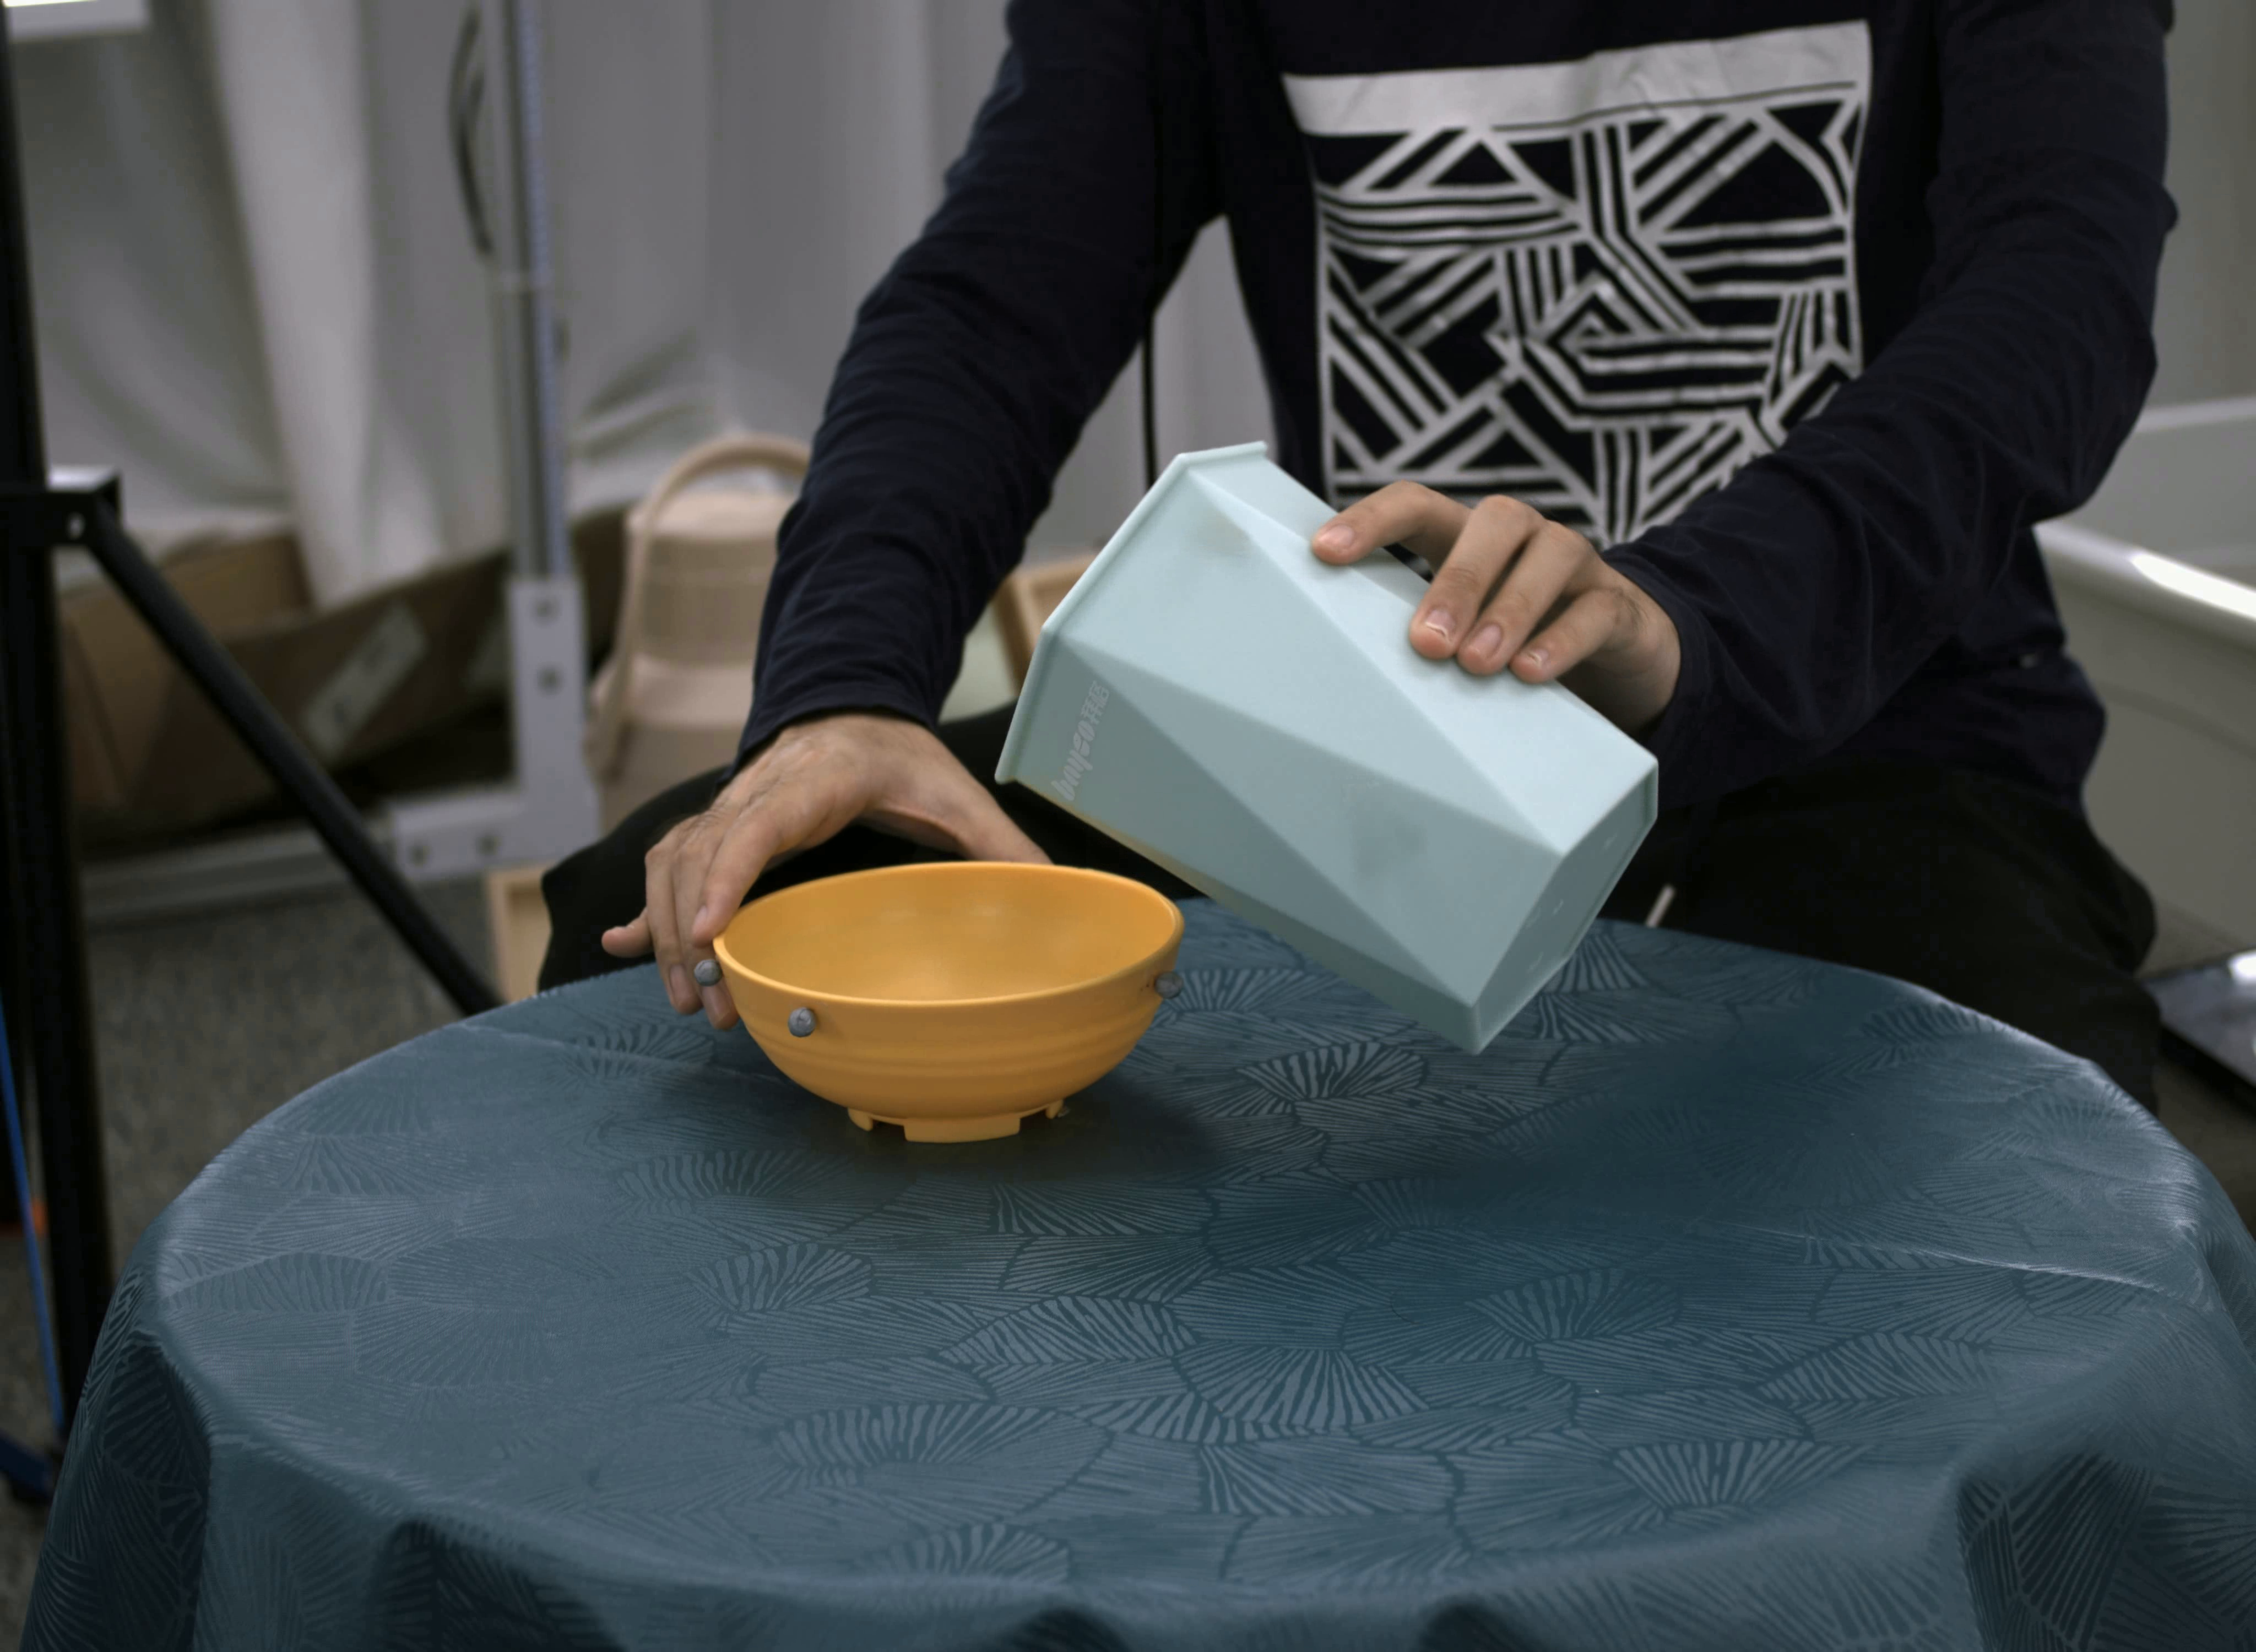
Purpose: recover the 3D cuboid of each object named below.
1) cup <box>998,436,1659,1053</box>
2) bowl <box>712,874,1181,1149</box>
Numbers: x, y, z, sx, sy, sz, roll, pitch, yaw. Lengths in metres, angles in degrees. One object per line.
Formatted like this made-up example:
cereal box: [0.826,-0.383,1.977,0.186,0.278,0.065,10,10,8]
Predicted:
cup: [0.063,-0.021,1.554,0.165,0.131,0.113,36,47,18]
bowl: [-0.056,0.062,1.638,0.144,0.060,0.146,0,14,-1]
